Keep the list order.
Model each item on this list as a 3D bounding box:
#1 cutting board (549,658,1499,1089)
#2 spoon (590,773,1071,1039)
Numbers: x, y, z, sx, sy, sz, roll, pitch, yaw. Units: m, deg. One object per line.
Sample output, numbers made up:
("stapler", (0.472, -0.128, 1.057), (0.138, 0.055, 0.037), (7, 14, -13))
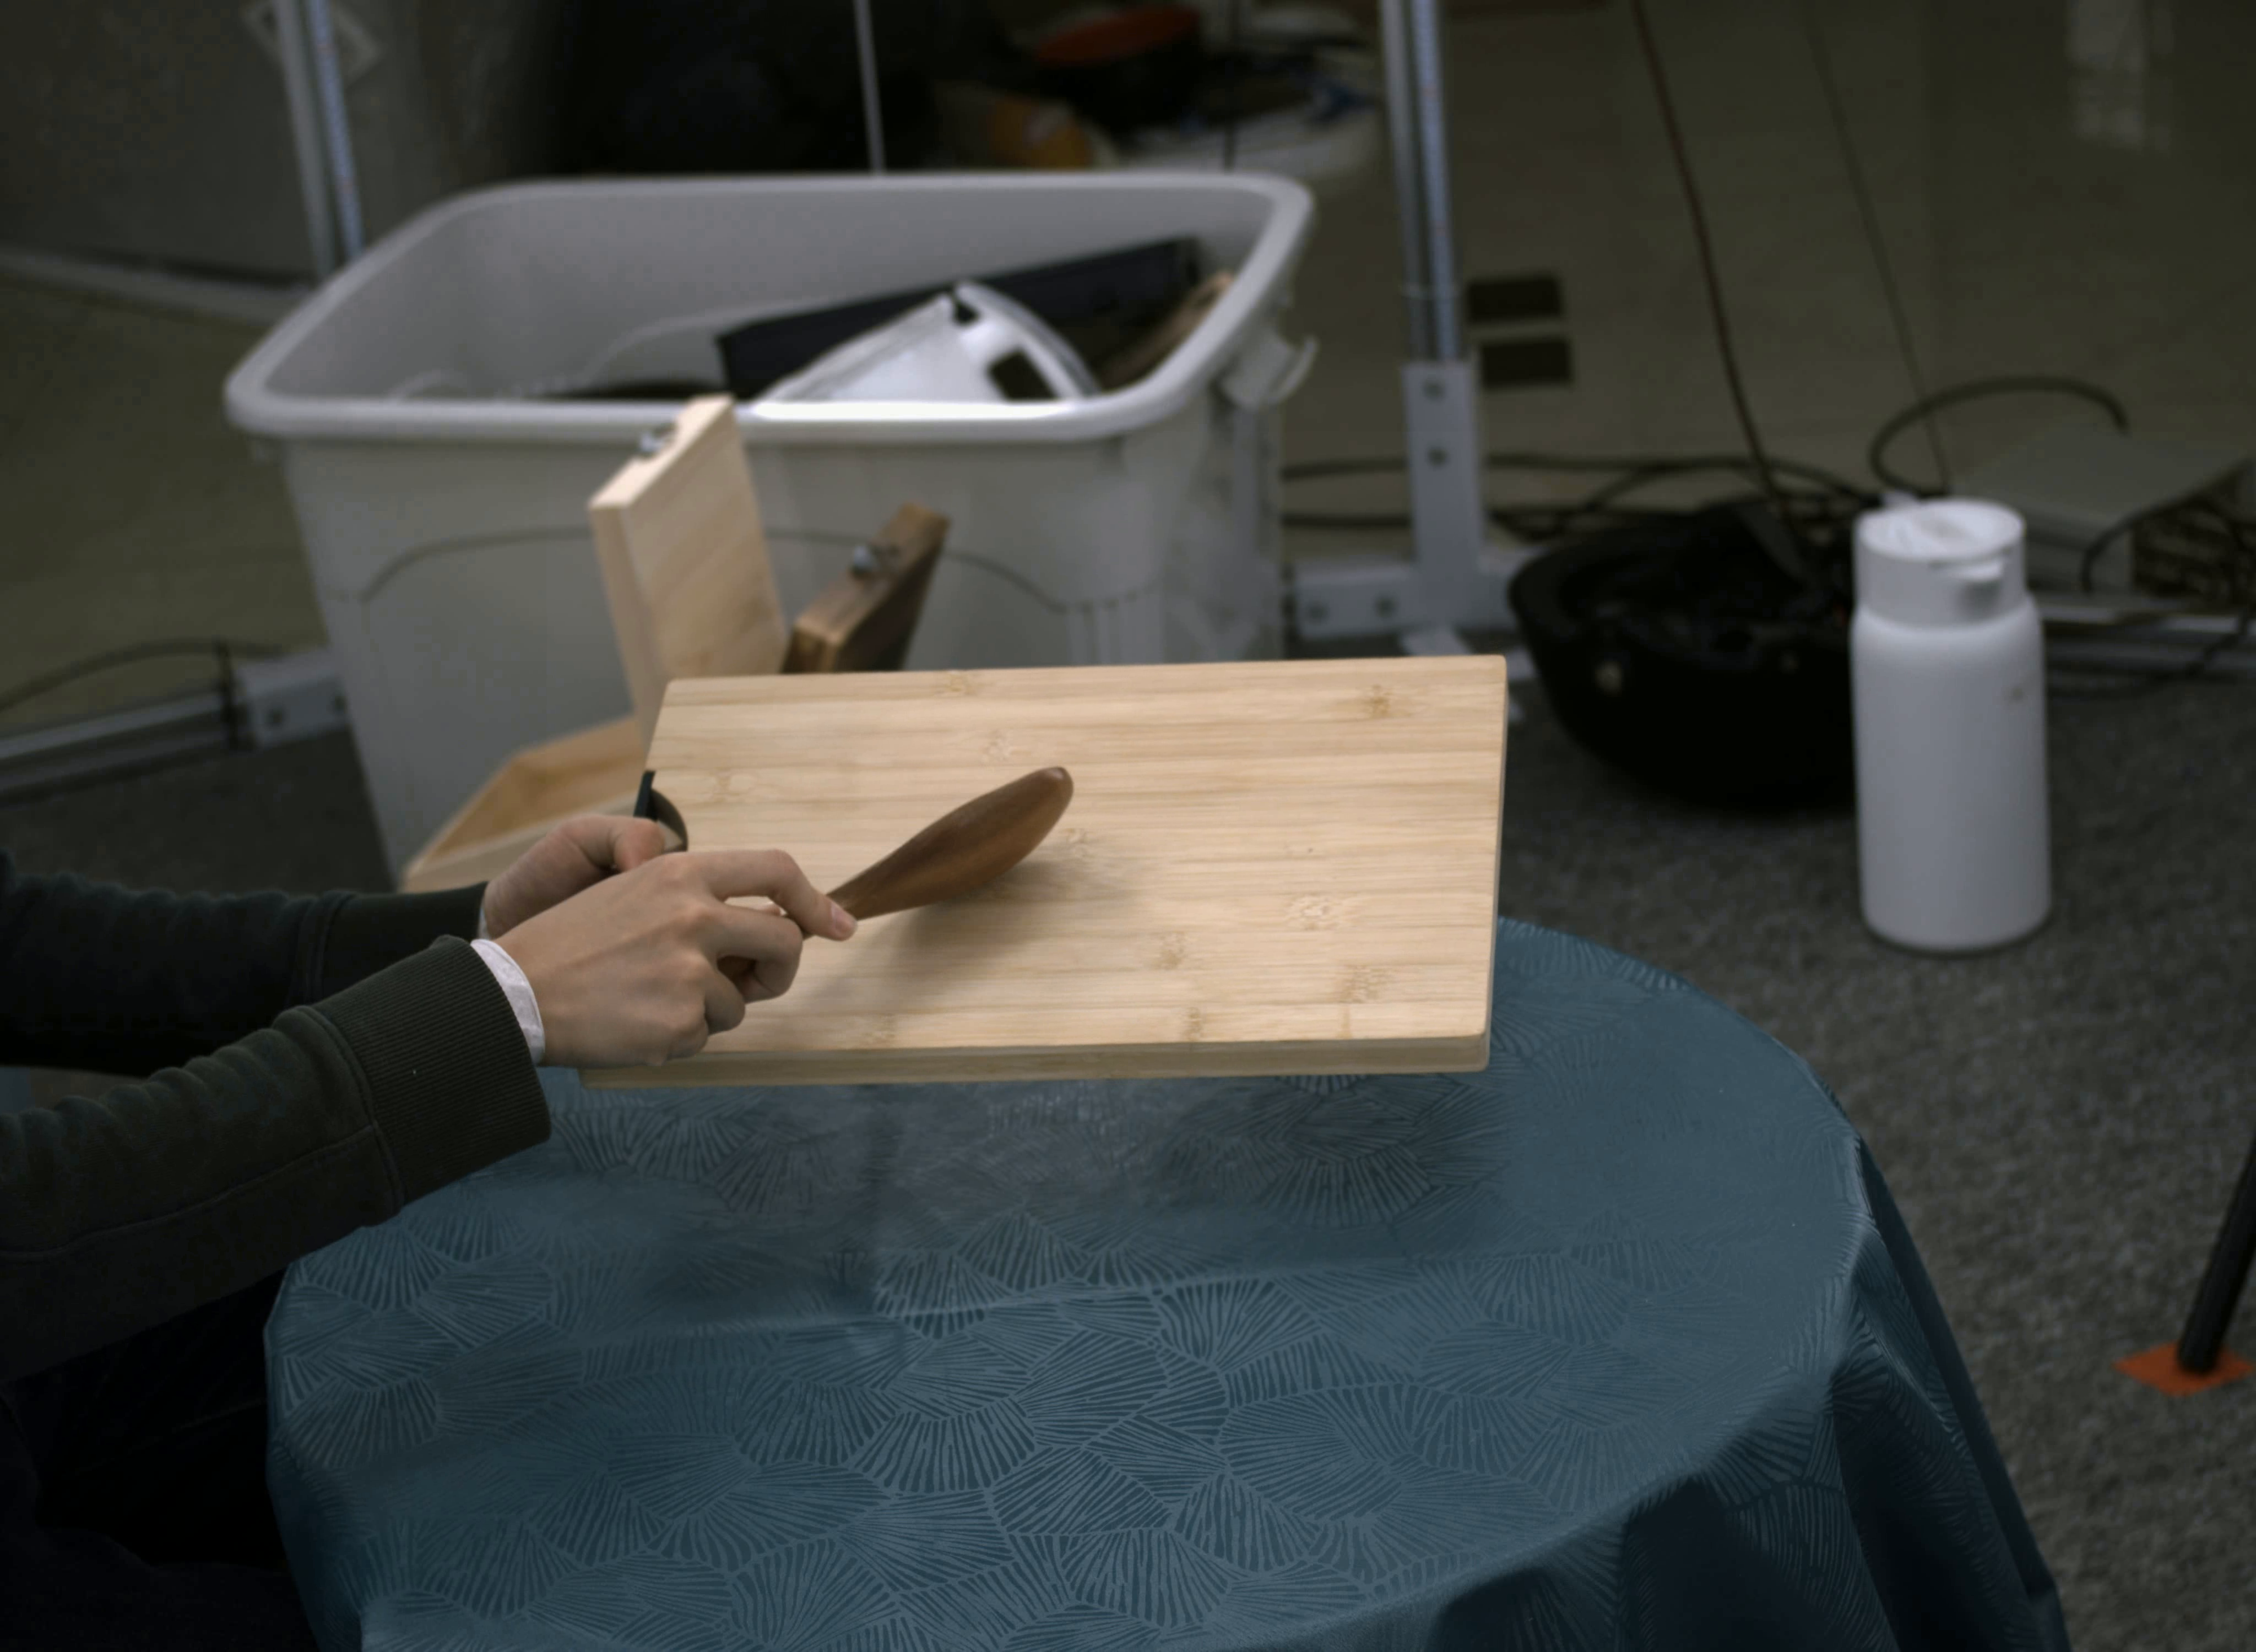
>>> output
("cutting board", (-0.033, 0.016, 2.177), (0.348, 0.024, 0.246), (-2, 37, 7))
("spoon", (-0.107, 0.031, 2.096), (0.214, 0.076, 0.017), (-24, 76, -29))
